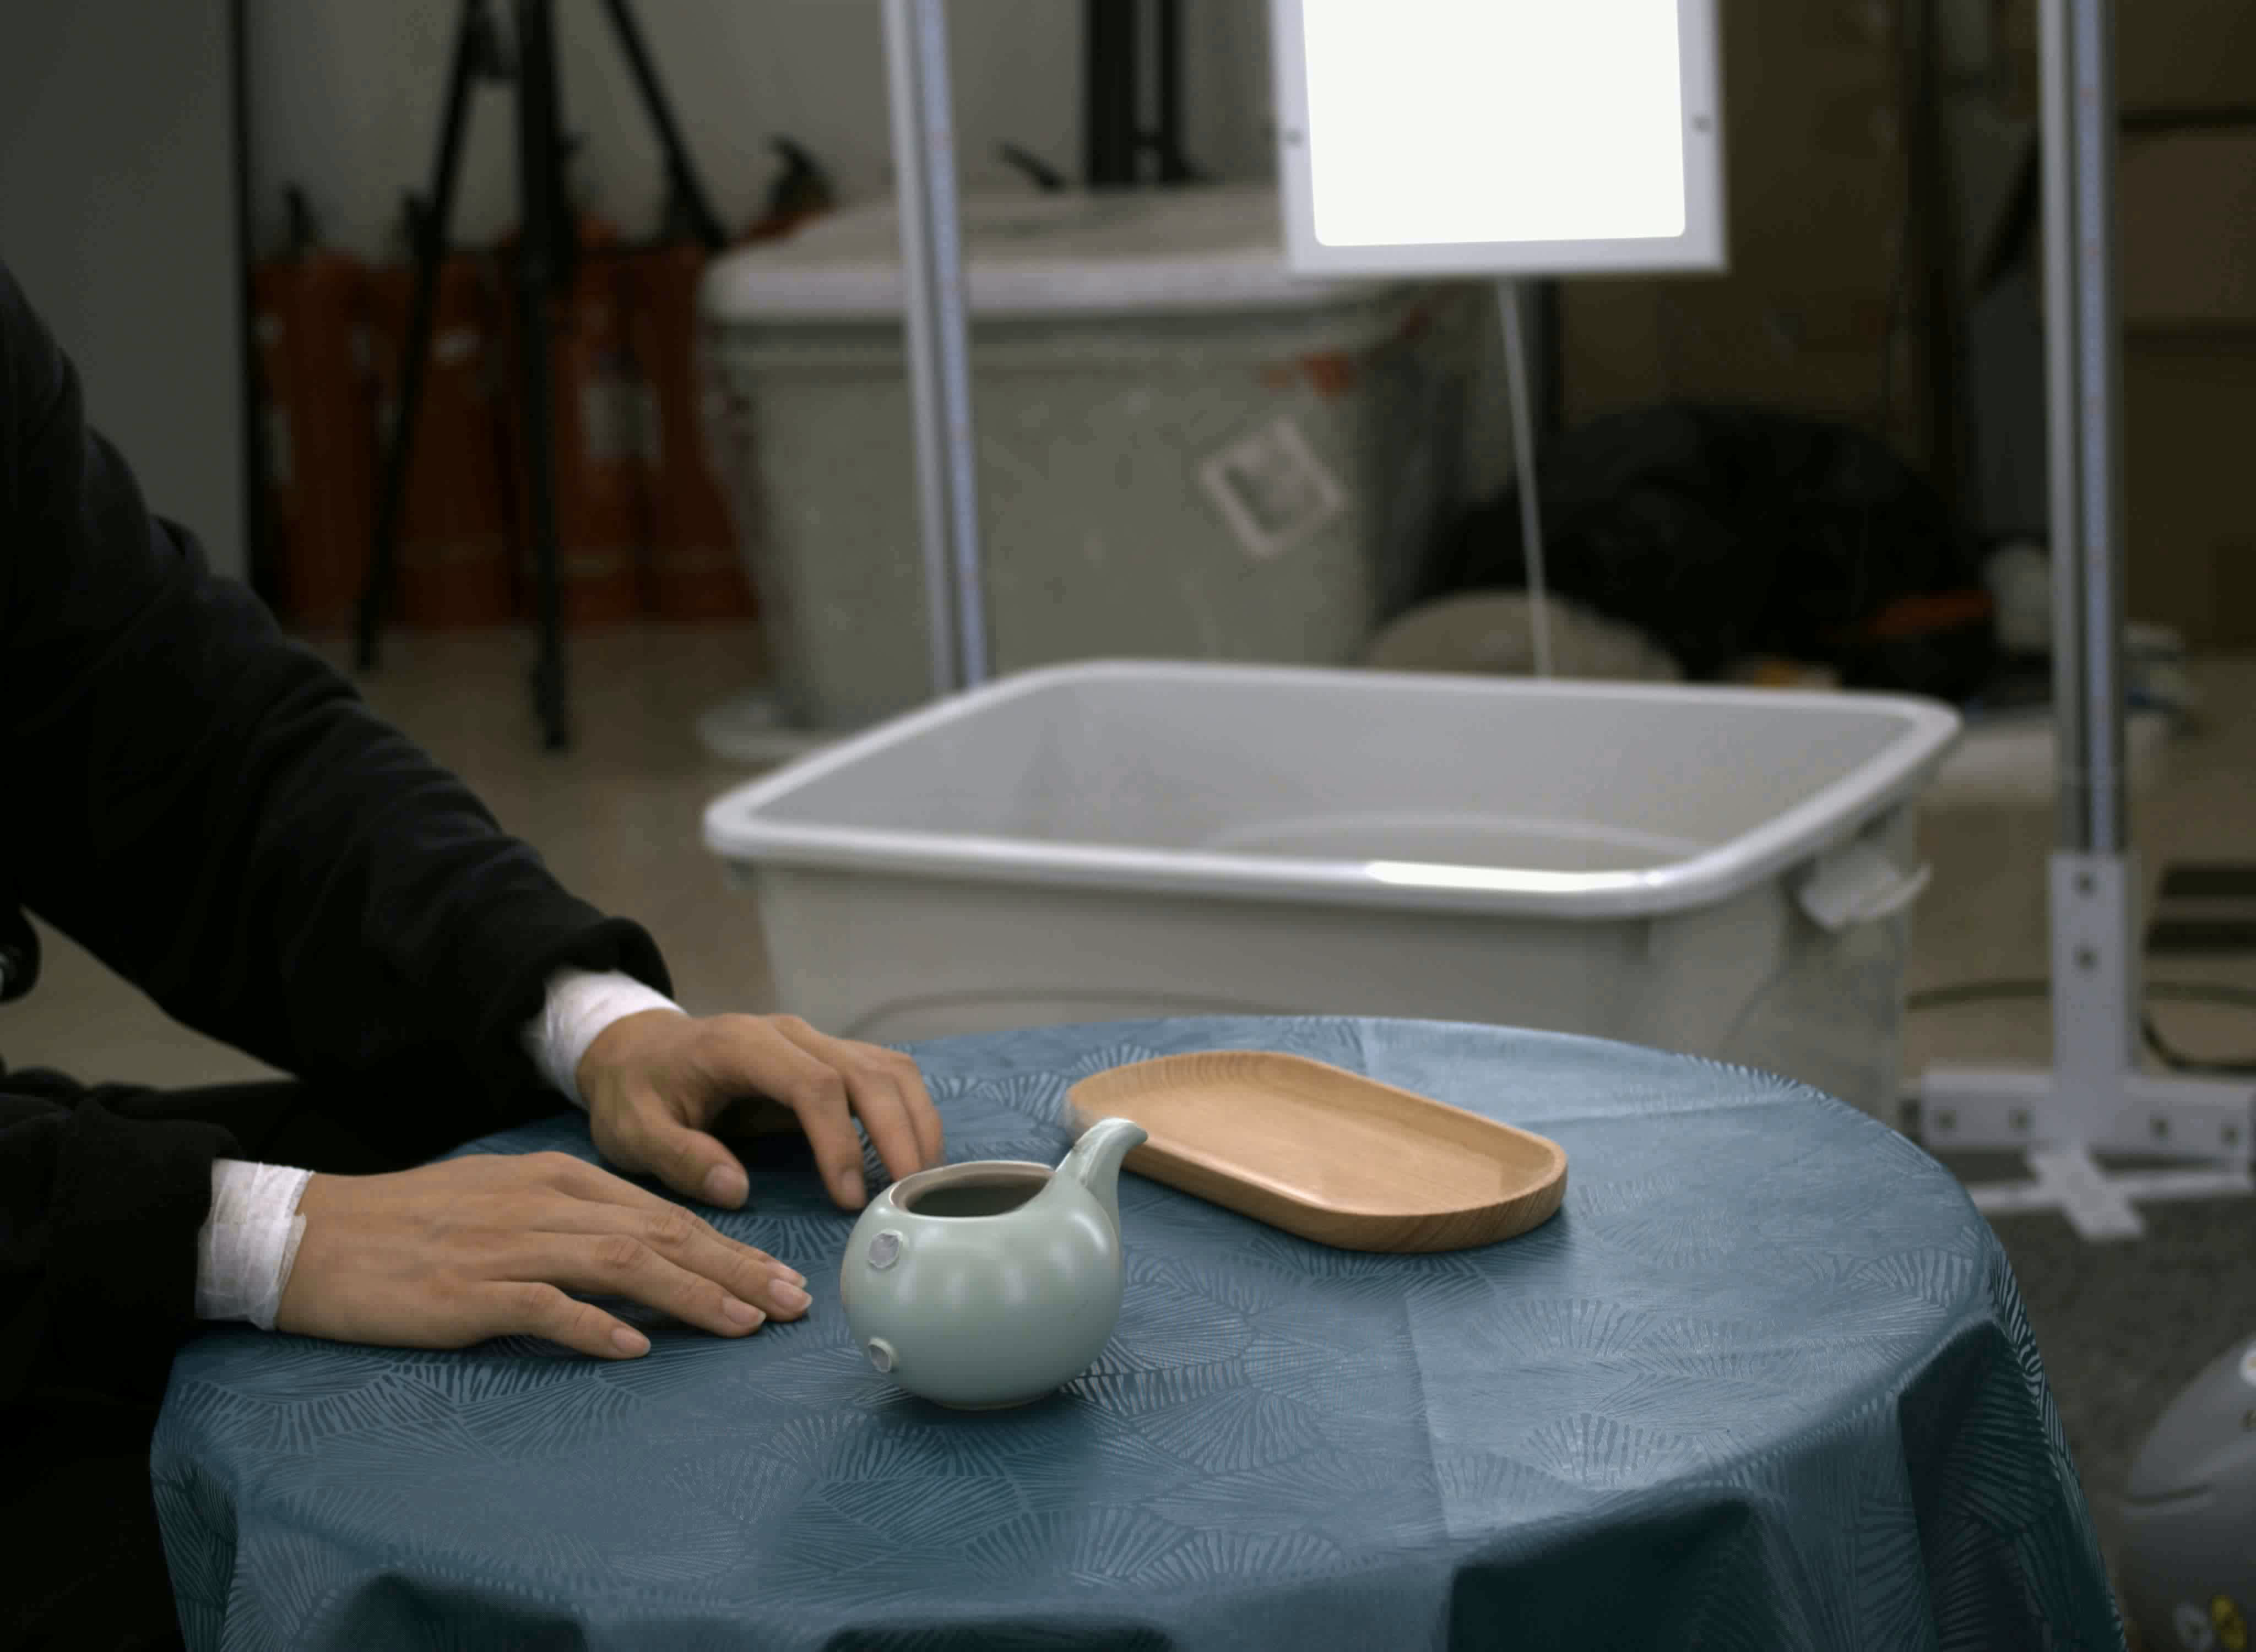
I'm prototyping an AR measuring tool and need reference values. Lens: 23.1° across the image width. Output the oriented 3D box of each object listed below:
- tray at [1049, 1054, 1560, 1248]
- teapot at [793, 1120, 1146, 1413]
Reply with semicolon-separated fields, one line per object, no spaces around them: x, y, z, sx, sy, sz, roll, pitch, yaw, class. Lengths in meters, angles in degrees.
0.059;0.111;1.907;0.099;0.020;0.236;-12;13;-31;tray
-0.046;0.140;1.707;0.140;0.075;0.090;-14;16;-39;teapot
